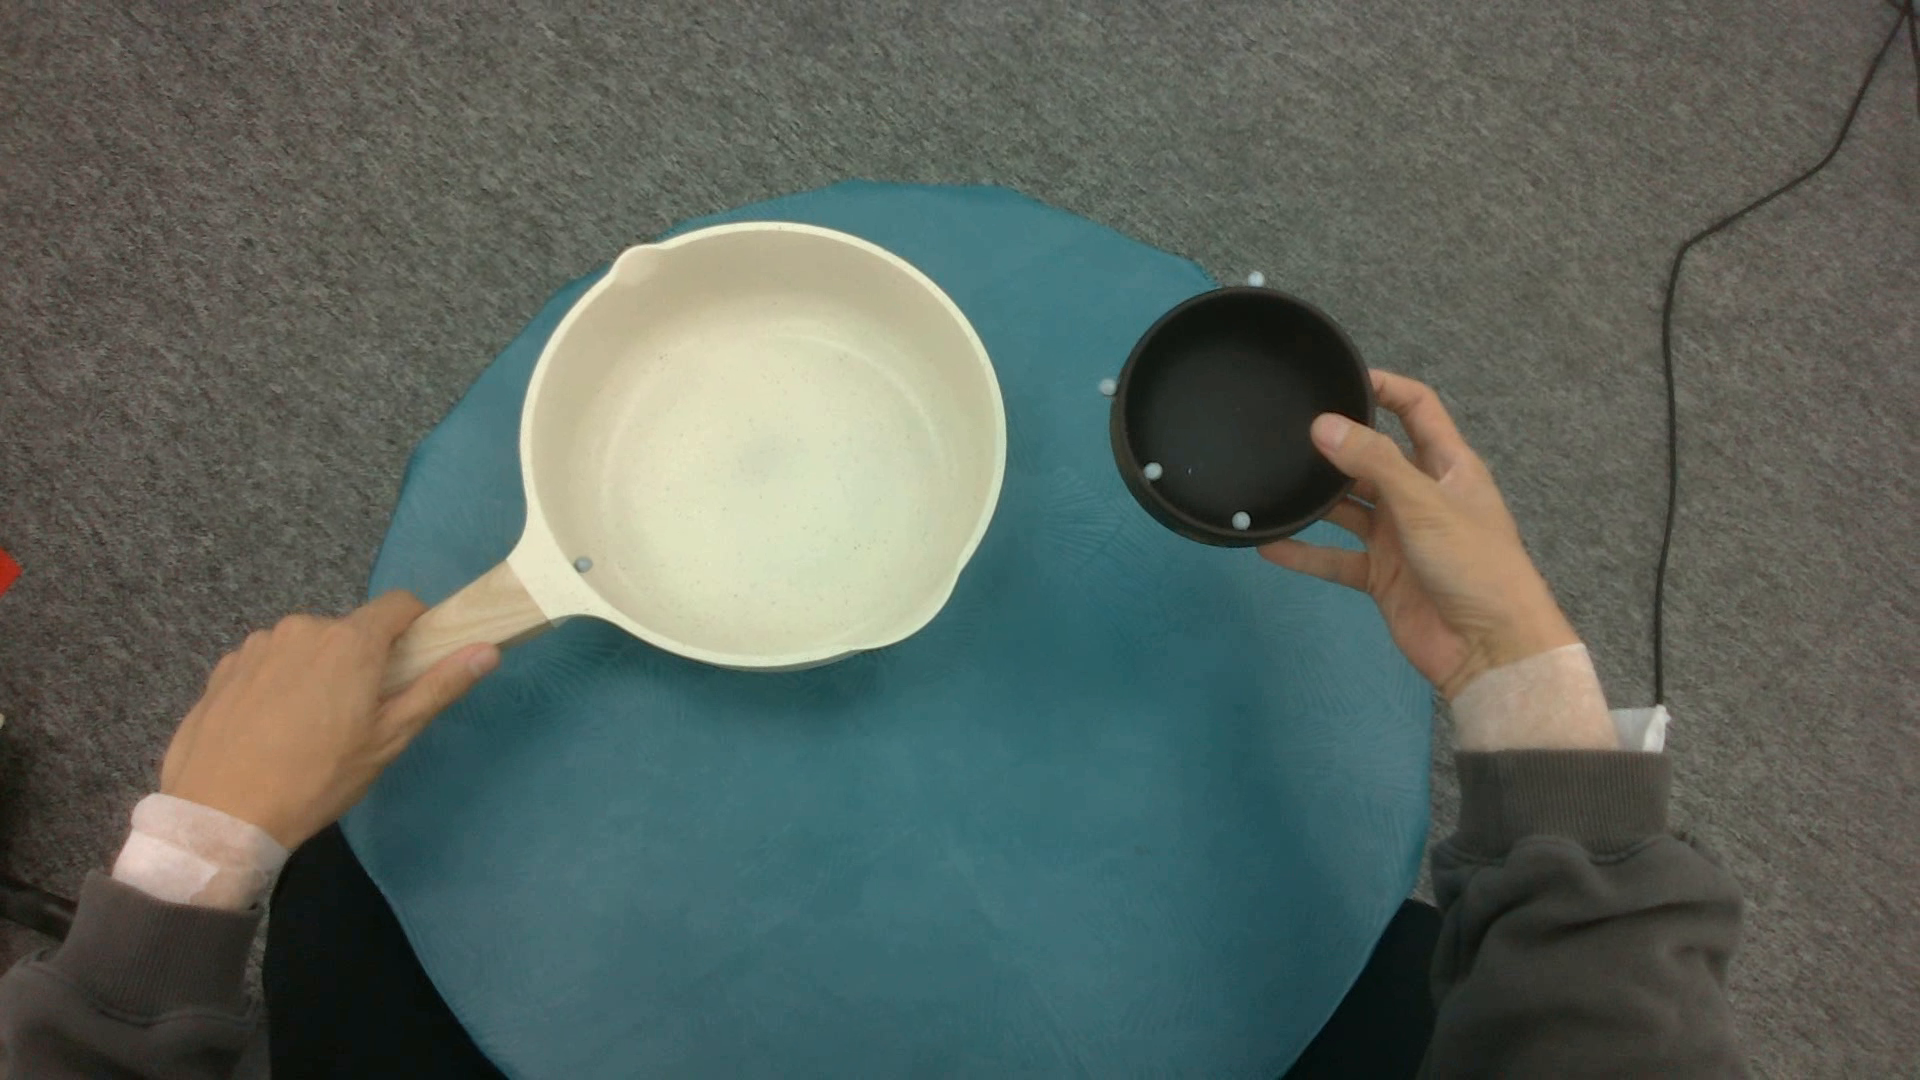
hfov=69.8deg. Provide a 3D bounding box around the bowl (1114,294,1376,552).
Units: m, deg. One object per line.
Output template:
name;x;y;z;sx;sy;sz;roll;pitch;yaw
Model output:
bowl;0.131;-0.052;0.654;0.118;0.070;0.118;0;83;0

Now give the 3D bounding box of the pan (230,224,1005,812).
pan;-0.175;0.005;0.743;0.436;0.101;0.263;-36;79;-14
